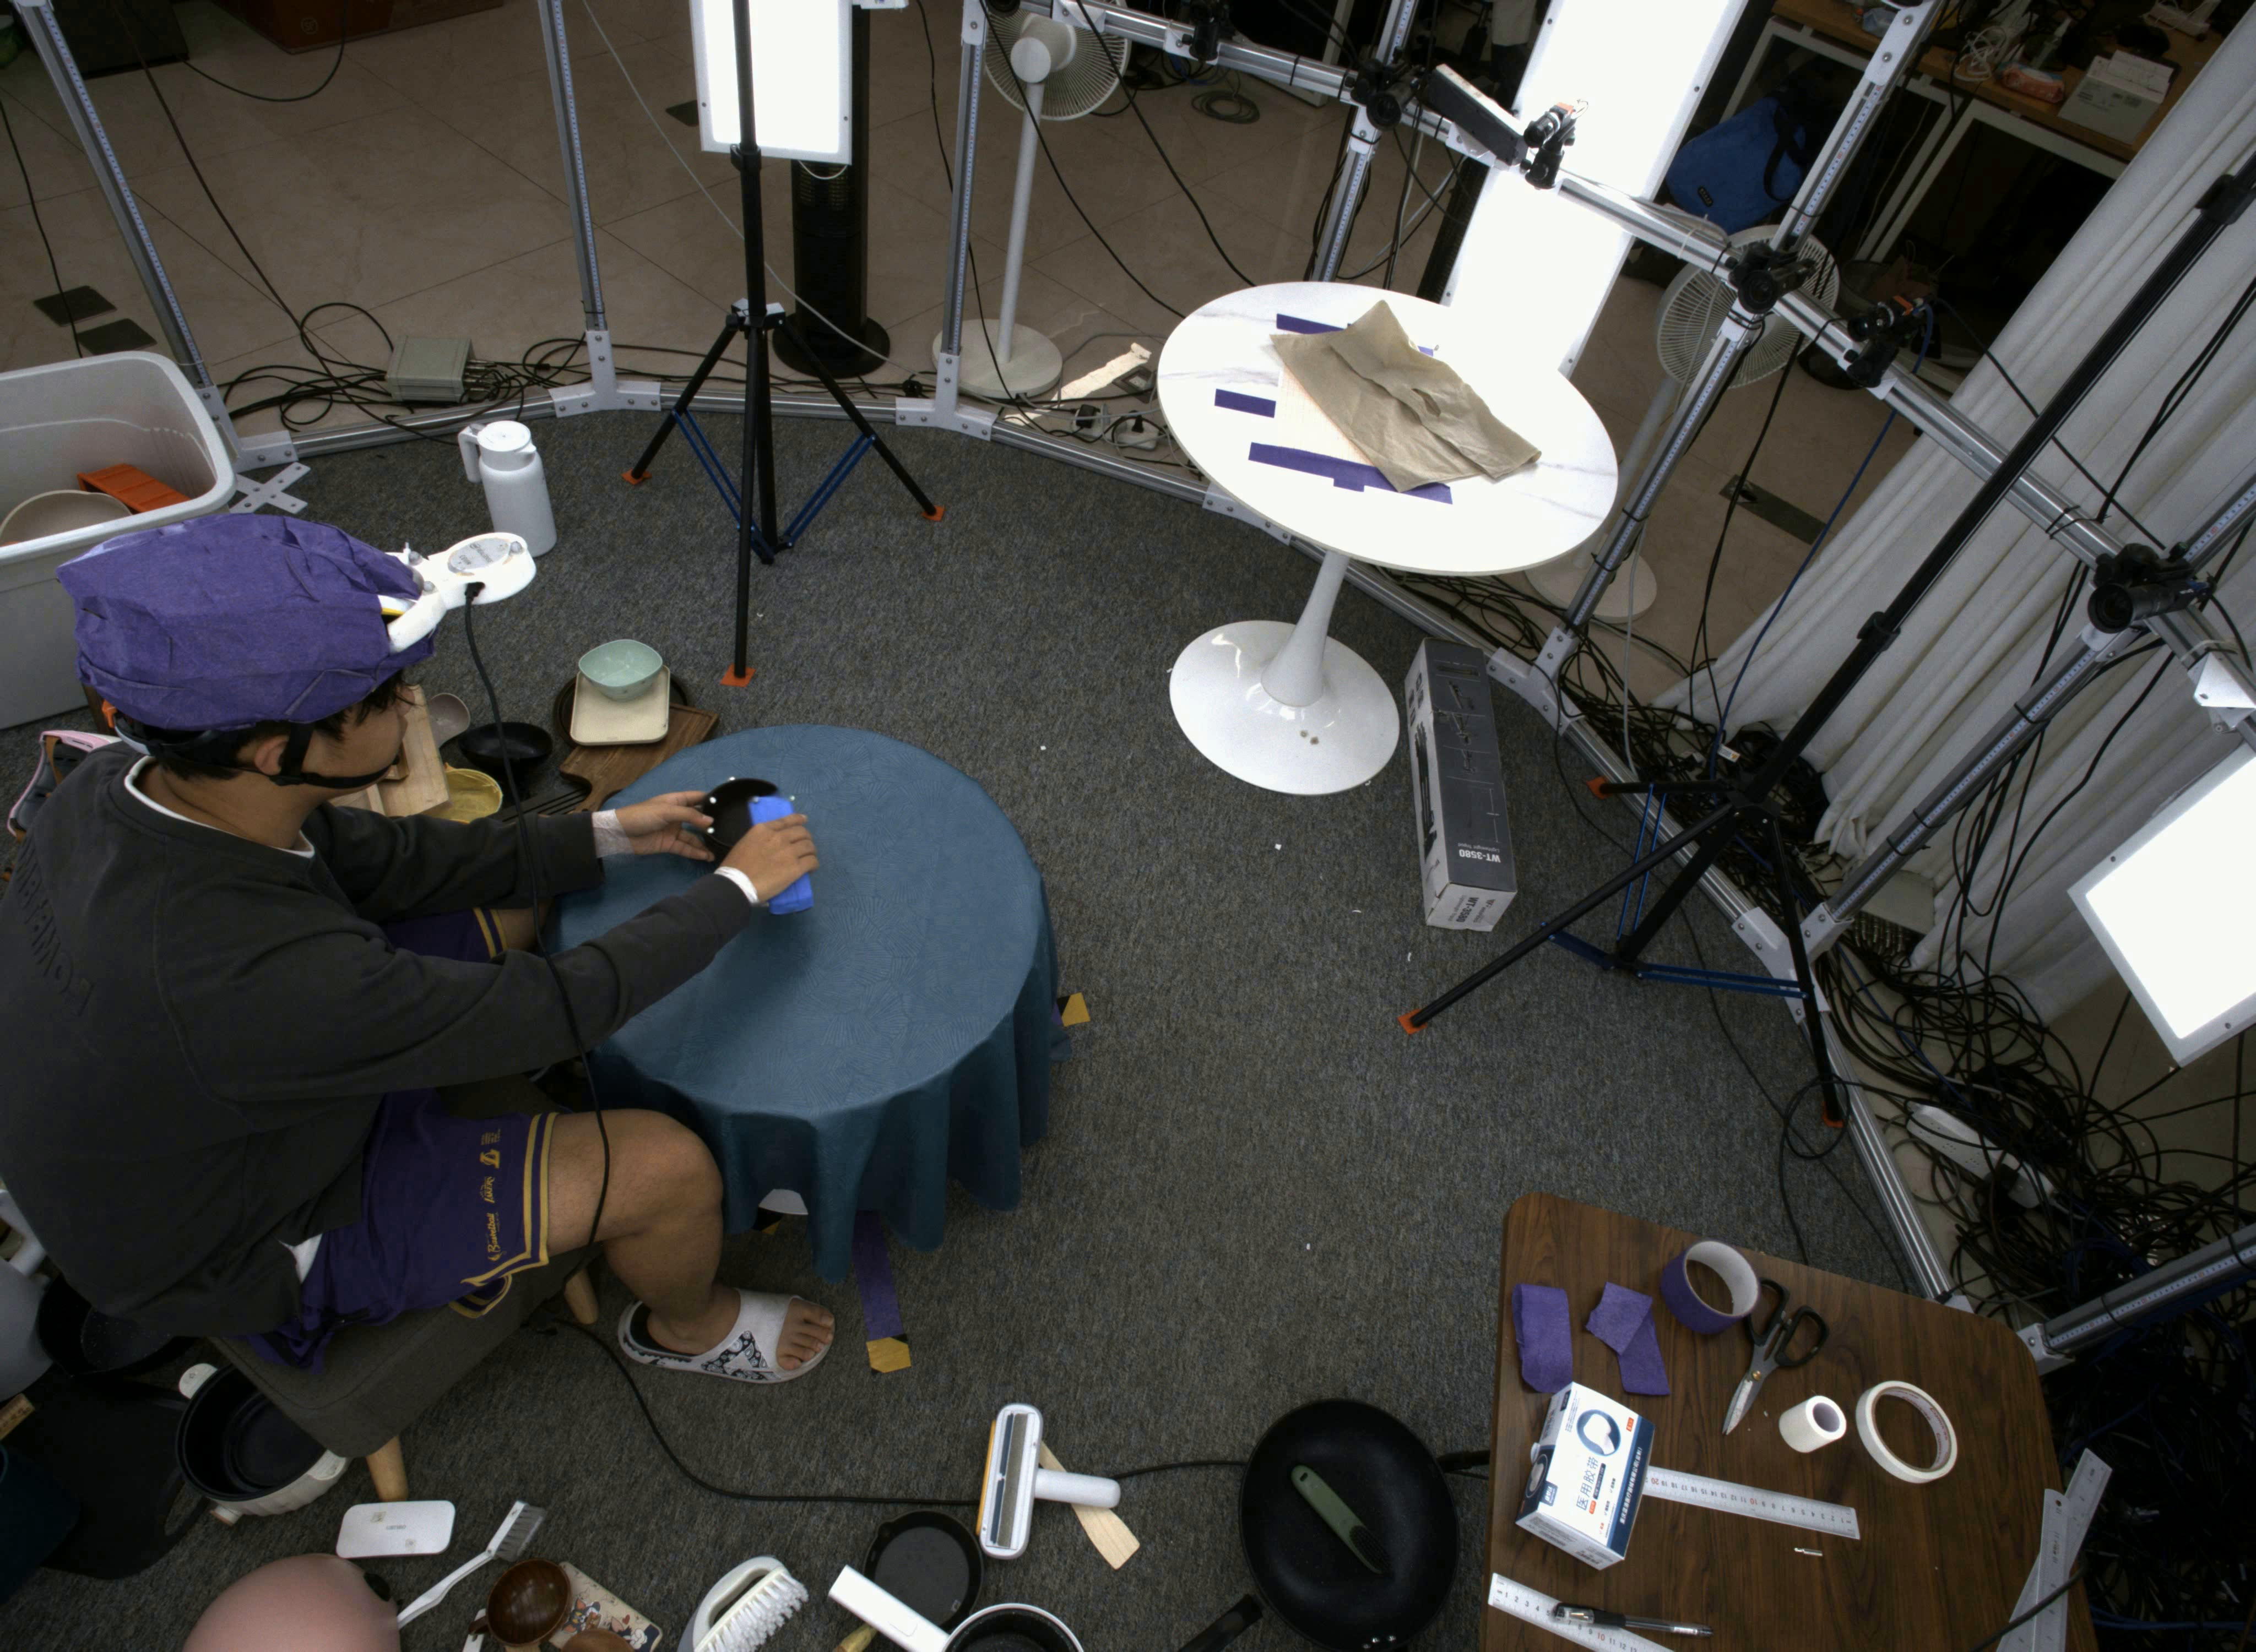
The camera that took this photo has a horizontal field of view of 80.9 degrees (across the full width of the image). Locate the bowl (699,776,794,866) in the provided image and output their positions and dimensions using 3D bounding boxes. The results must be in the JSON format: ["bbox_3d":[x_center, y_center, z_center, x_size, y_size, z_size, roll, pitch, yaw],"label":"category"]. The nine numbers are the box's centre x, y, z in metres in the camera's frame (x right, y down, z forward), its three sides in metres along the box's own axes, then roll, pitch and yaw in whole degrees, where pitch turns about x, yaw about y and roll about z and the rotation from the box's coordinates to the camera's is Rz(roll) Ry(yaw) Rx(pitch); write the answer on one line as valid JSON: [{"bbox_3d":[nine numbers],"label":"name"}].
[{"bbox_3d":[-0.489,0.000,1.664,0.117,0.071,0.116,7,54,-7],"label":"bowl"}]

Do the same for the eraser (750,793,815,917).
[{"bbox_3d":[-0.425,0.029,1.591,0.054,0.048,0.159,-9,60,-21],"label":"eraser"}]
